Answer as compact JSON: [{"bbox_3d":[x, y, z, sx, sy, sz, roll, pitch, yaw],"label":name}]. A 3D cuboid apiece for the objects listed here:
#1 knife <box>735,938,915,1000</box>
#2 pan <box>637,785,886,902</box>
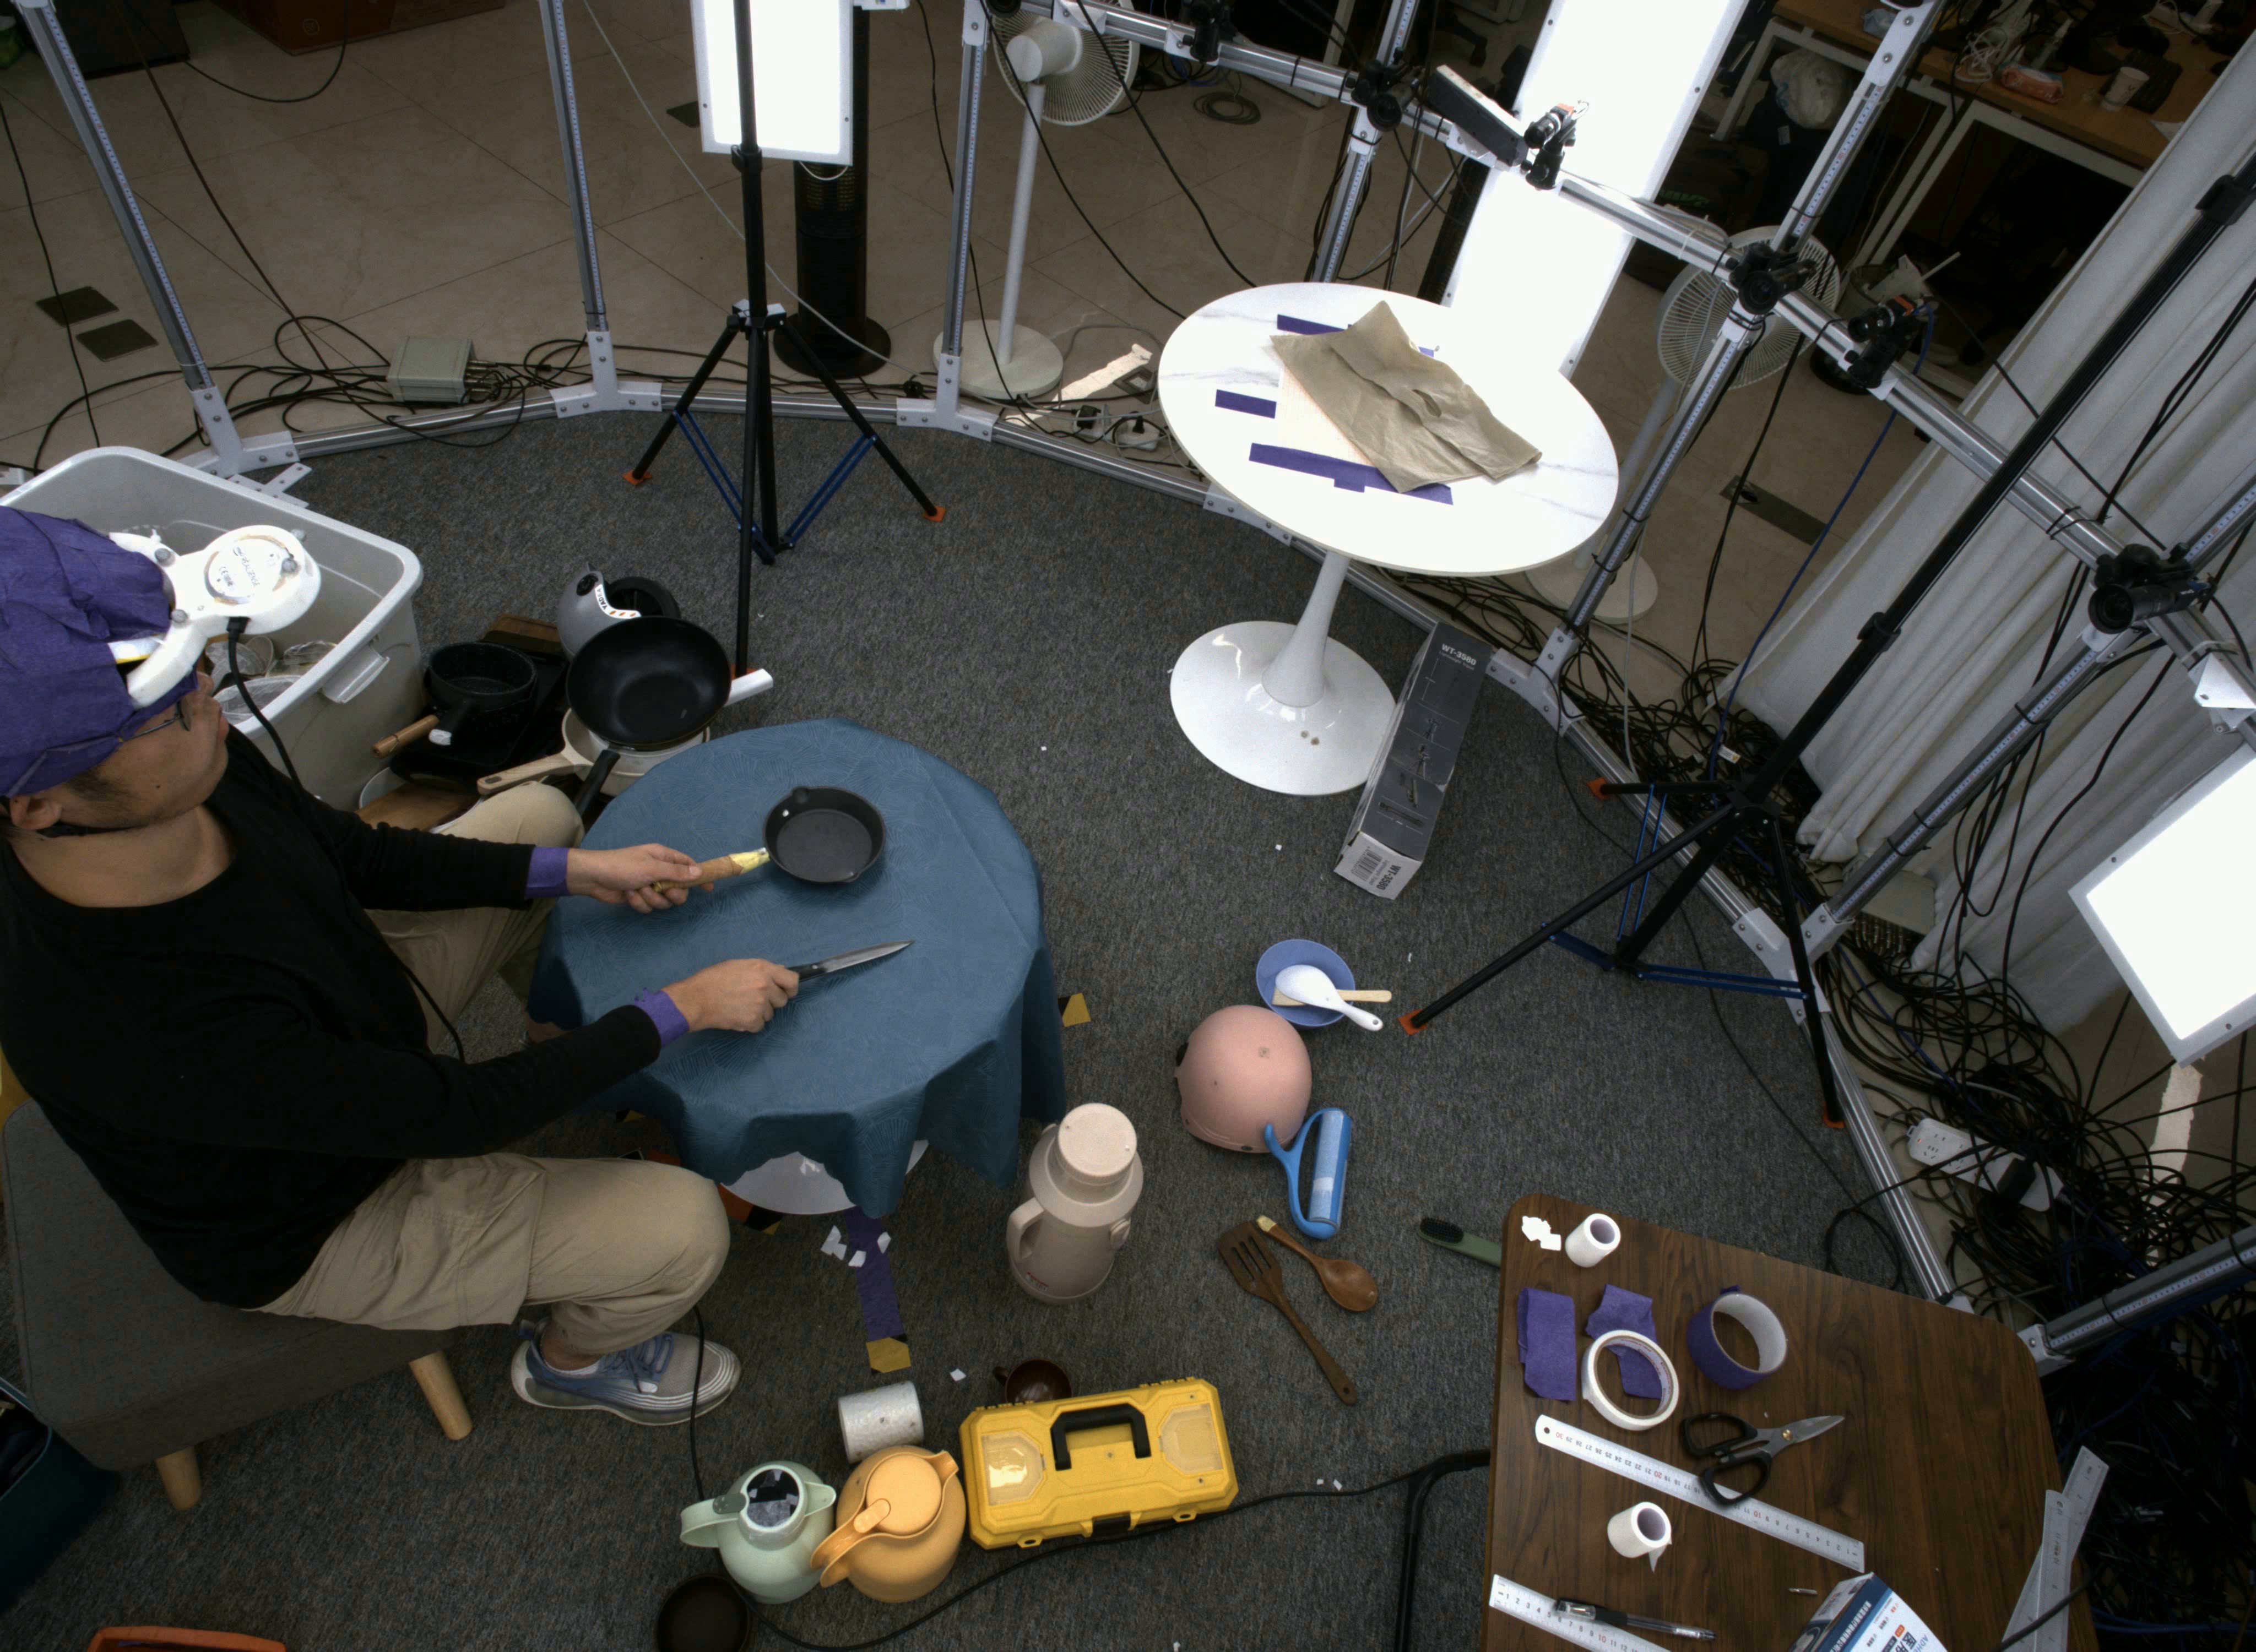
[{"bbox_3d":[-0.364,0.169,1.585,0.240,0.016,0.024,-15,53,-36],"label":"knife"},{"bbox_3d":[-0.465,0.037,1.646,0.326,0.050,0.165,-19,61,-28],"label":"pan"}]
